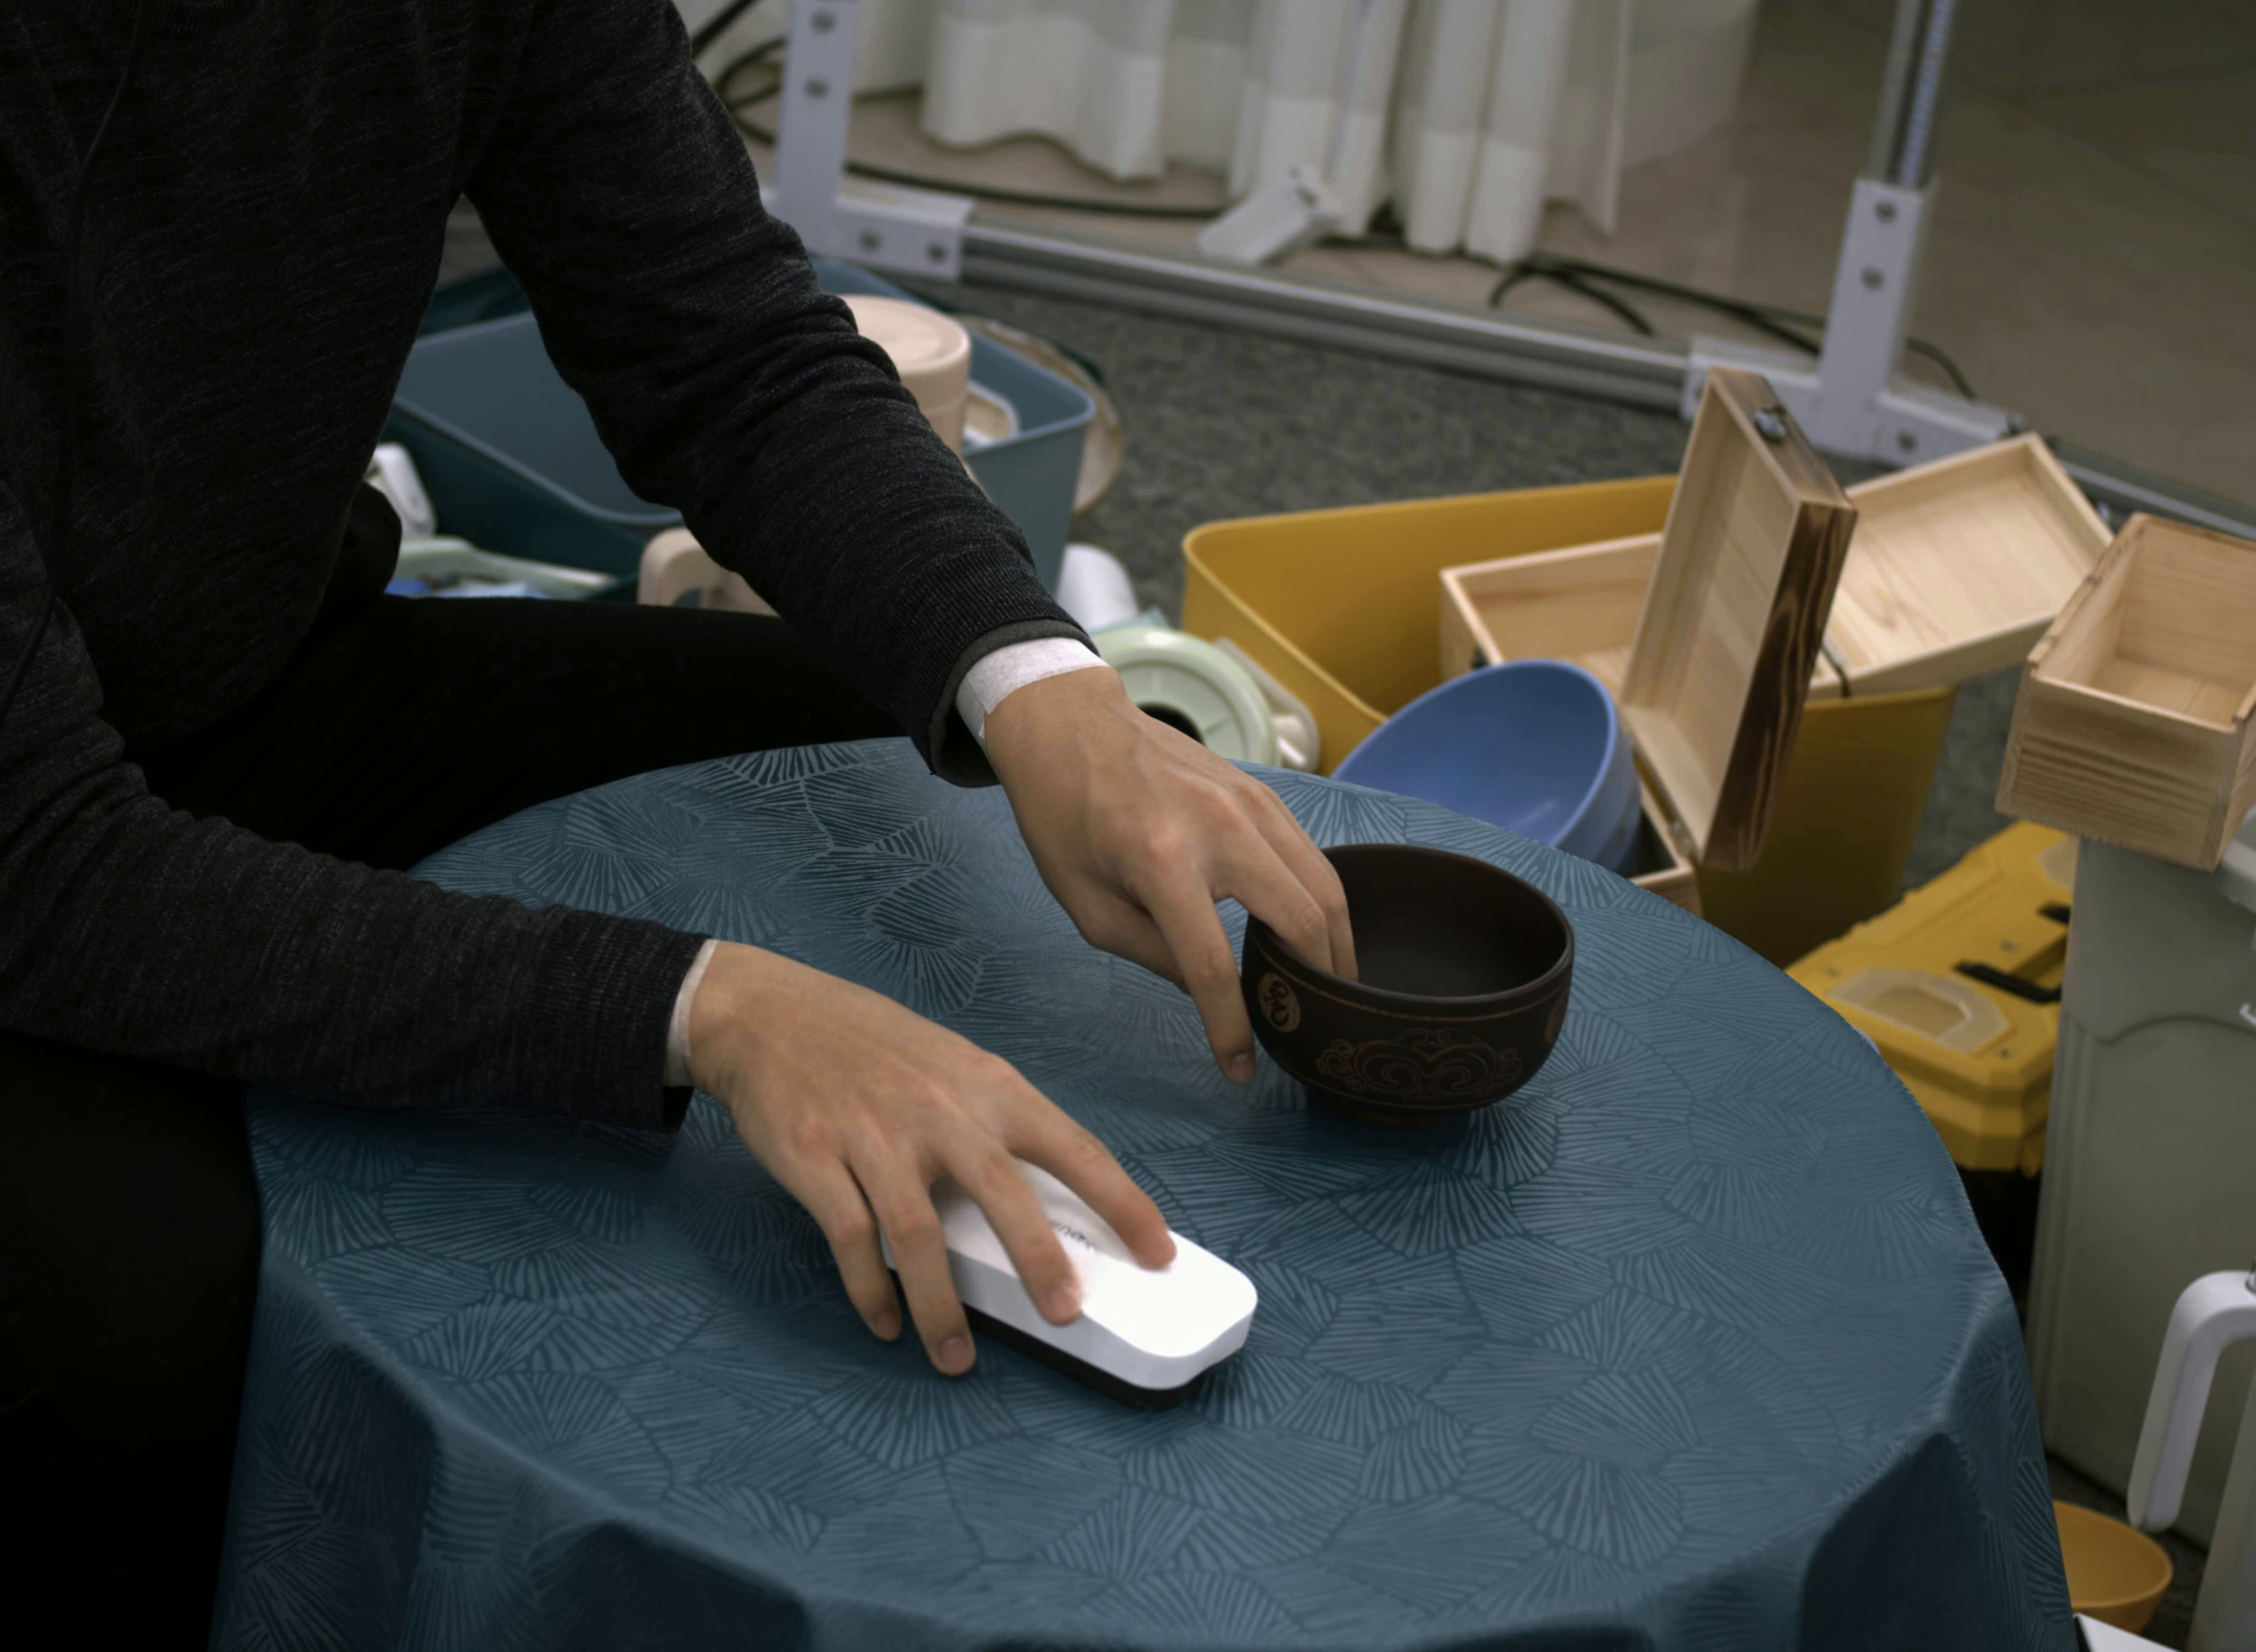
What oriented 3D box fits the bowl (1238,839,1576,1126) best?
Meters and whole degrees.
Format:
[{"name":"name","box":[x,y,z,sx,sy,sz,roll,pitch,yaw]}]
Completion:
[{"name":"bowl","box":[0.096,0.061,1.866,0.117,0.069,0.119,4,27,-2]}]

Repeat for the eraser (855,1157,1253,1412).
[{"name":"eraser","box":[-0.024,0.145,1.722,0.132,0.034,0.063,23,30,29]}]
